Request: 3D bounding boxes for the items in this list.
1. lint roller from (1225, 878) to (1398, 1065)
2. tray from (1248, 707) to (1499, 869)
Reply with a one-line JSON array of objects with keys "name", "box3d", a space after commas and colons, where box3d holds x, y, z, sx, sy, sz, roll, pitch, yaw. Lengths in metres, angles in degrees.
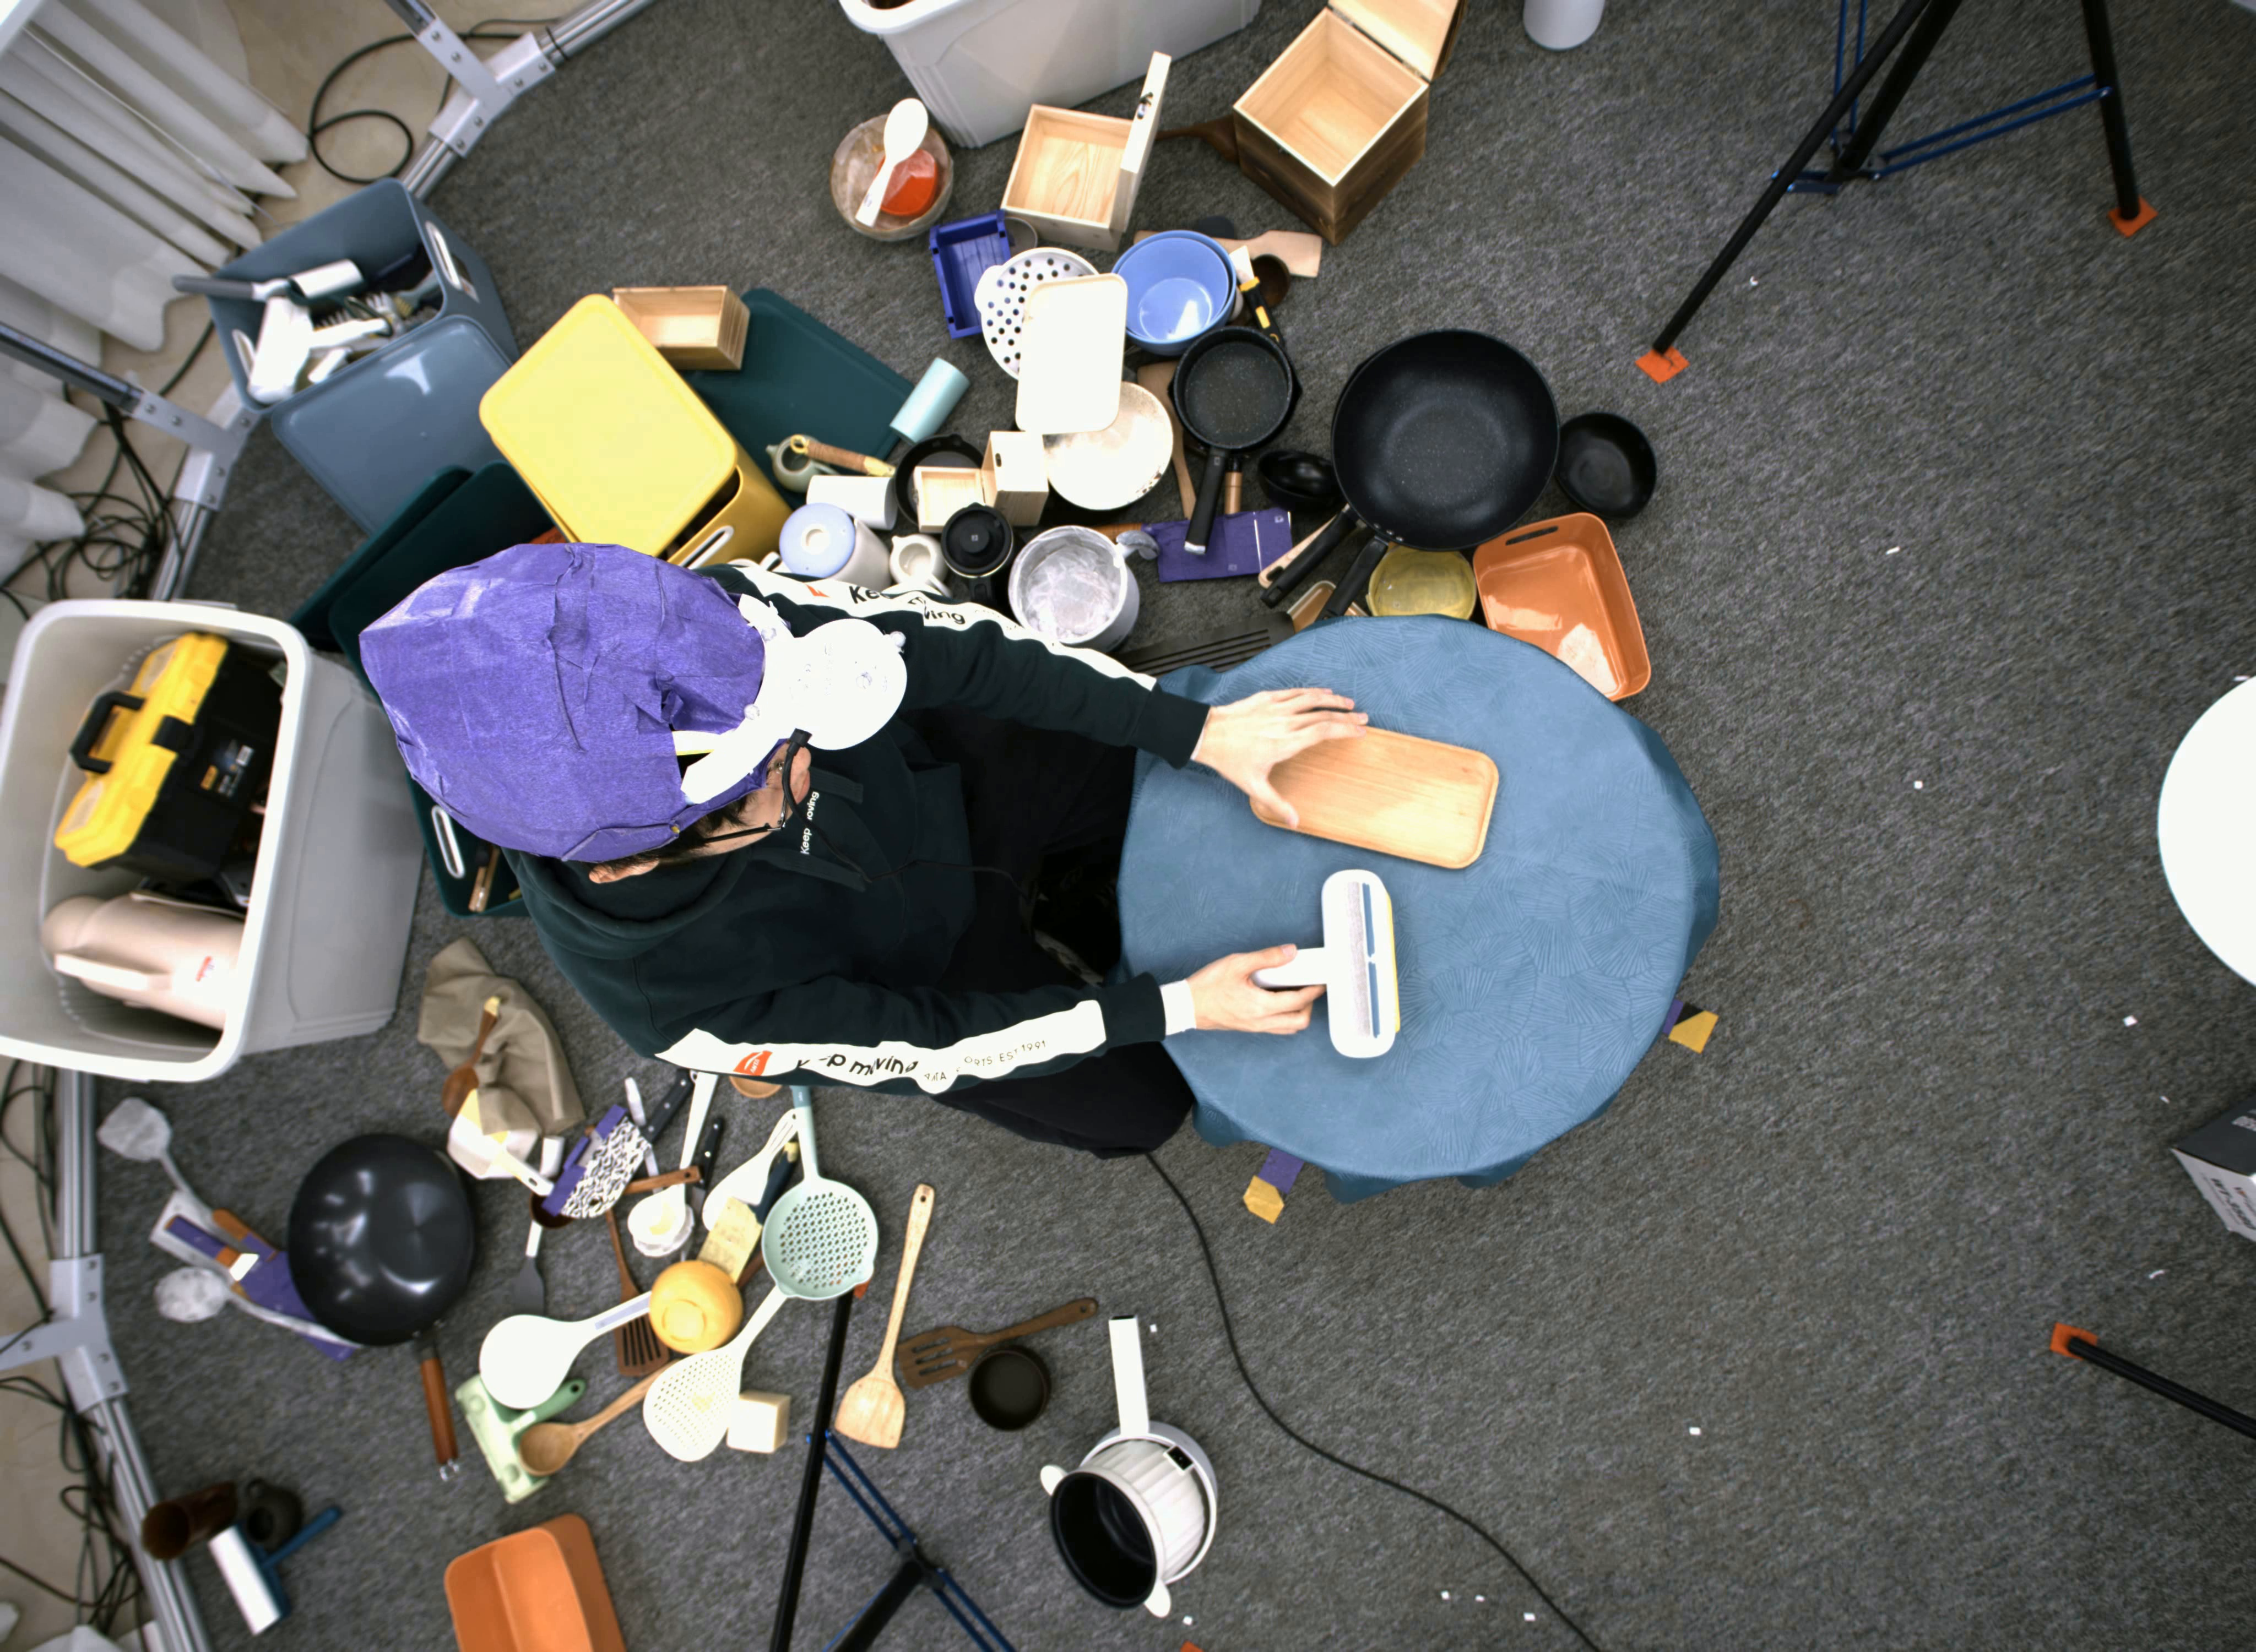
[{"name": "lint roller", "box3d": [0.186, 0.151, 1.451, 0.194, 0.074, 0.191, -1, 80, 24]}, {"name": "tray", "box3d": [0.258, -0.042, 1.455, 0.251, 0.023, 0.130, 15, 88, 11]}]
